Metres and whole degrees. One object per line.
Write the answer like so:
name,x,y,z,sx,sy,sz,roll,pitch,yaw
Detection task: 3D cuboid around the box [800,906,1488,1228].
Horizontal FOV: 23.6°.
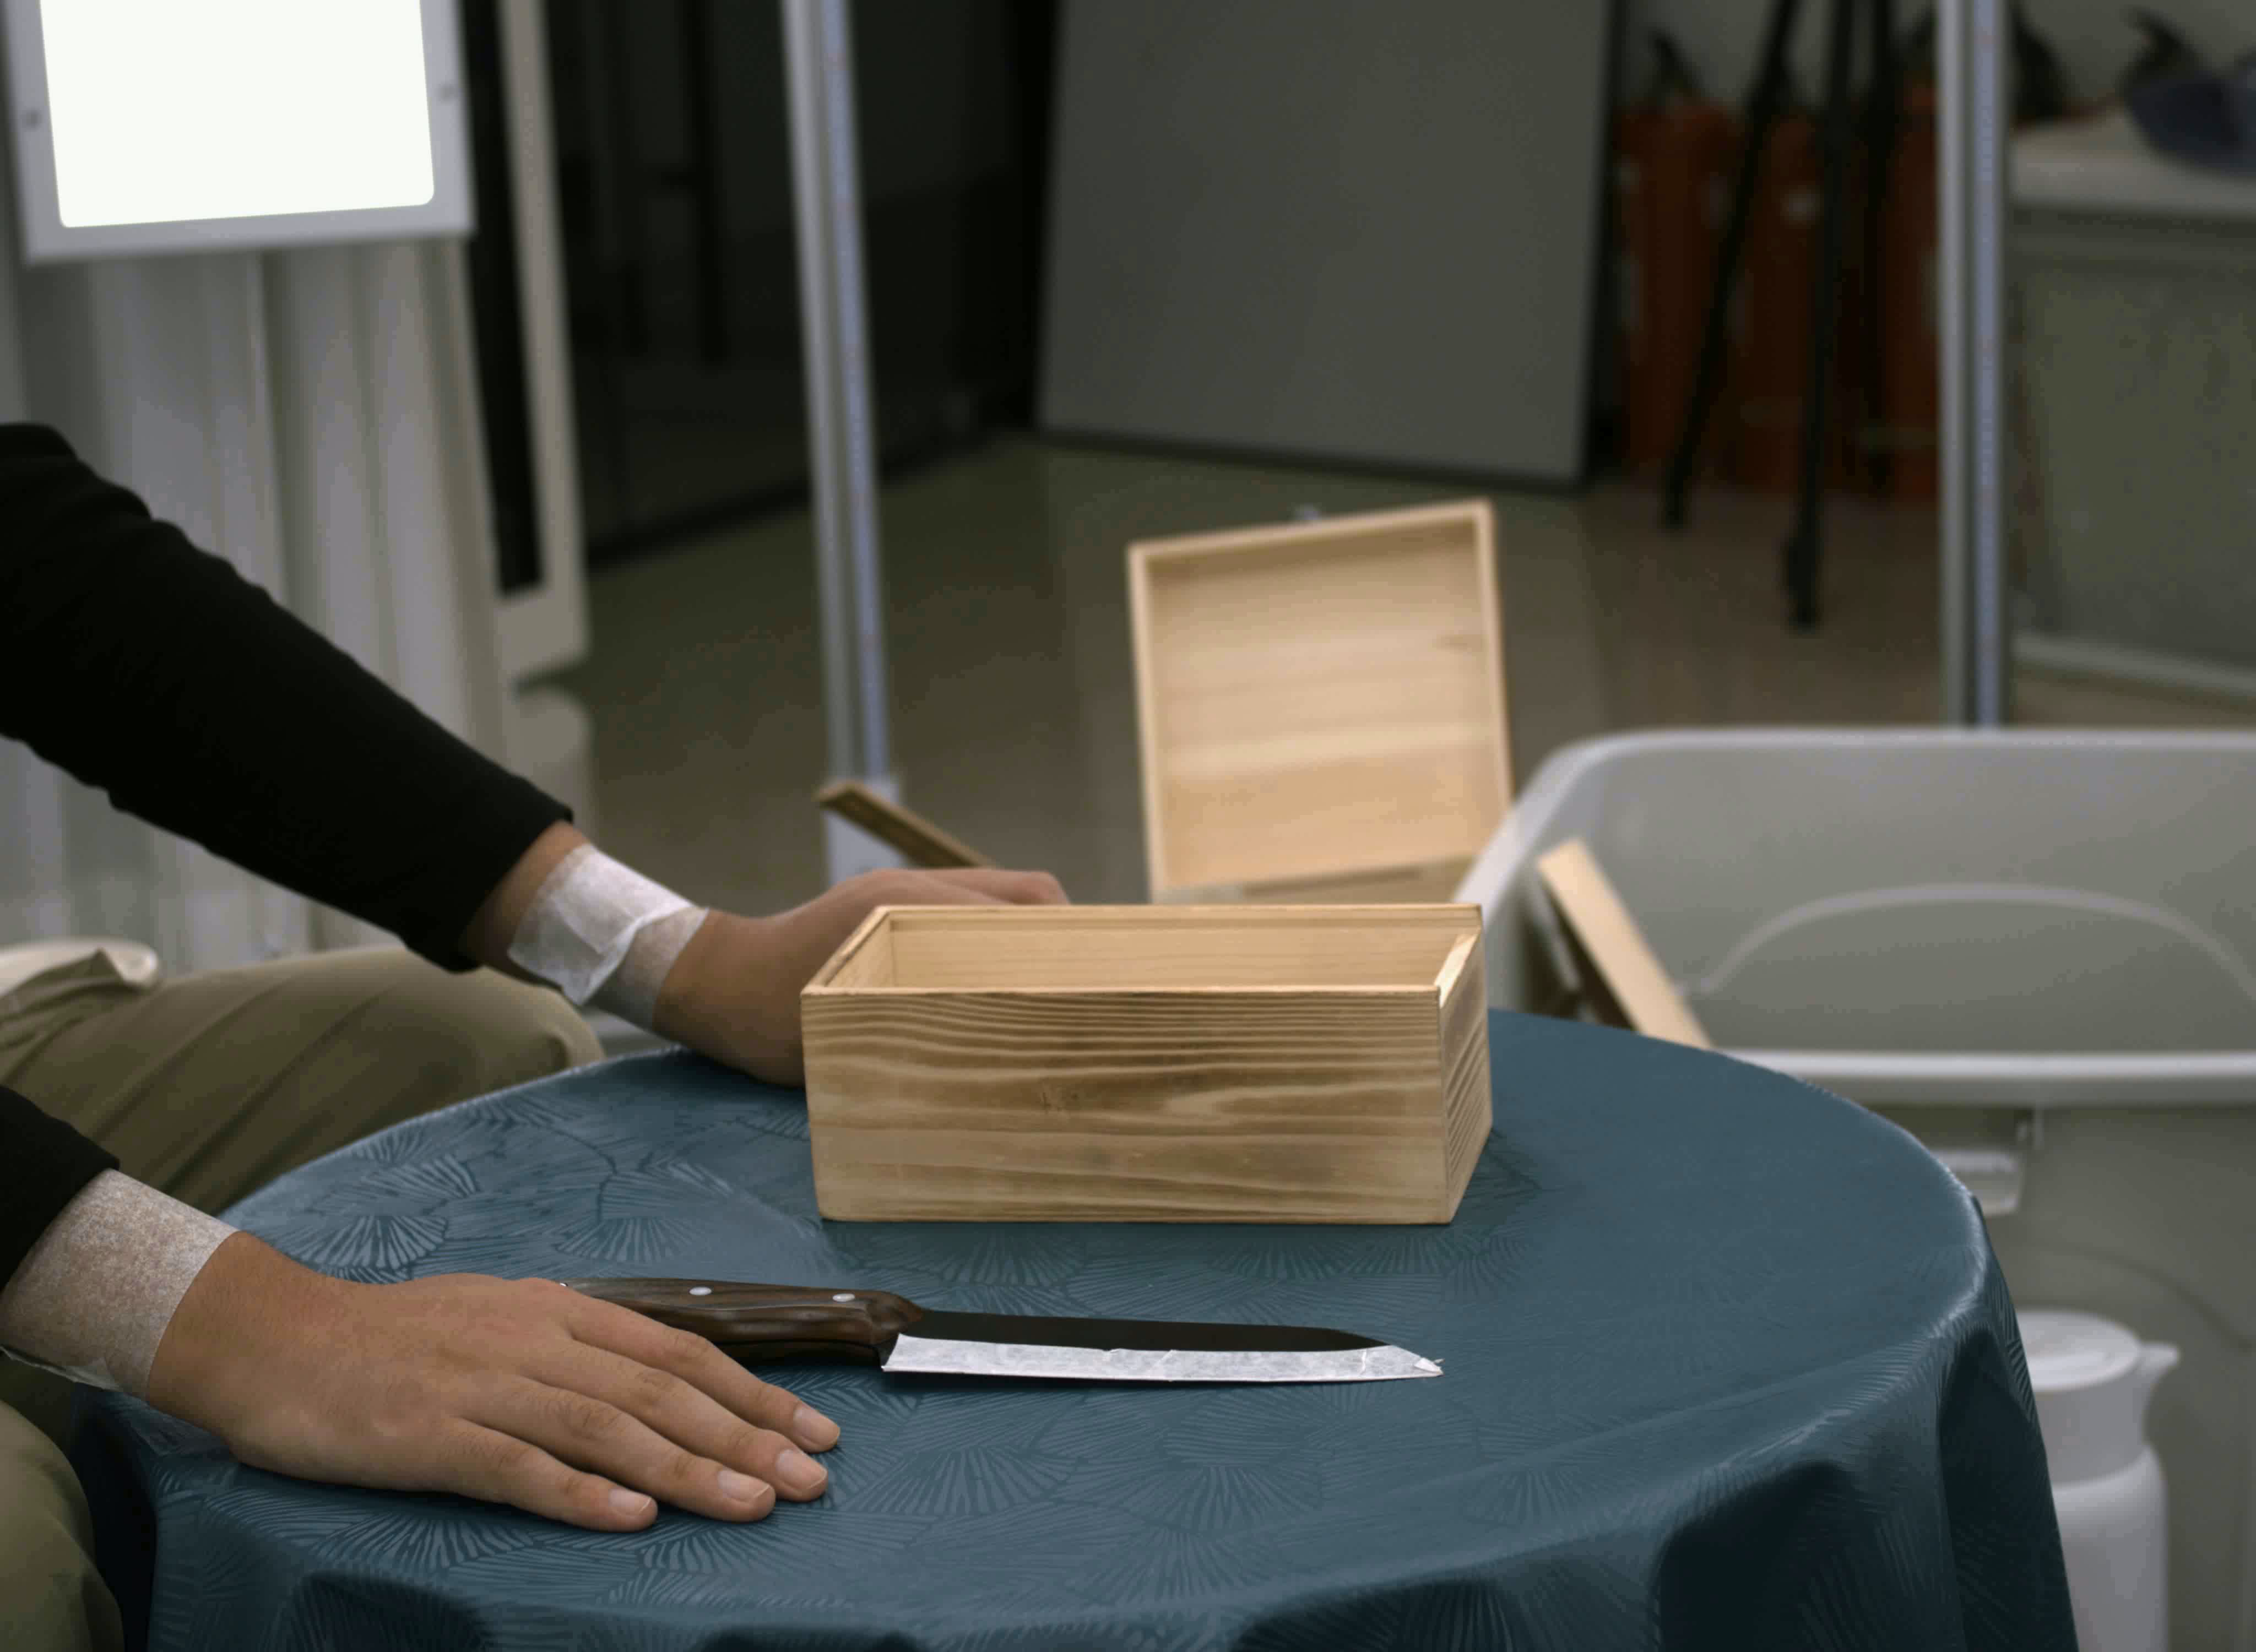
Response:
box,0.008,0.078,1.777,0.210,0.081,0.107,0,13,13

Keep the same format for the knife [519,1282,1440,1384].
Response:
knife,-0.047,0.155,1.616,0.287,0.020,0.050,2,19,13
